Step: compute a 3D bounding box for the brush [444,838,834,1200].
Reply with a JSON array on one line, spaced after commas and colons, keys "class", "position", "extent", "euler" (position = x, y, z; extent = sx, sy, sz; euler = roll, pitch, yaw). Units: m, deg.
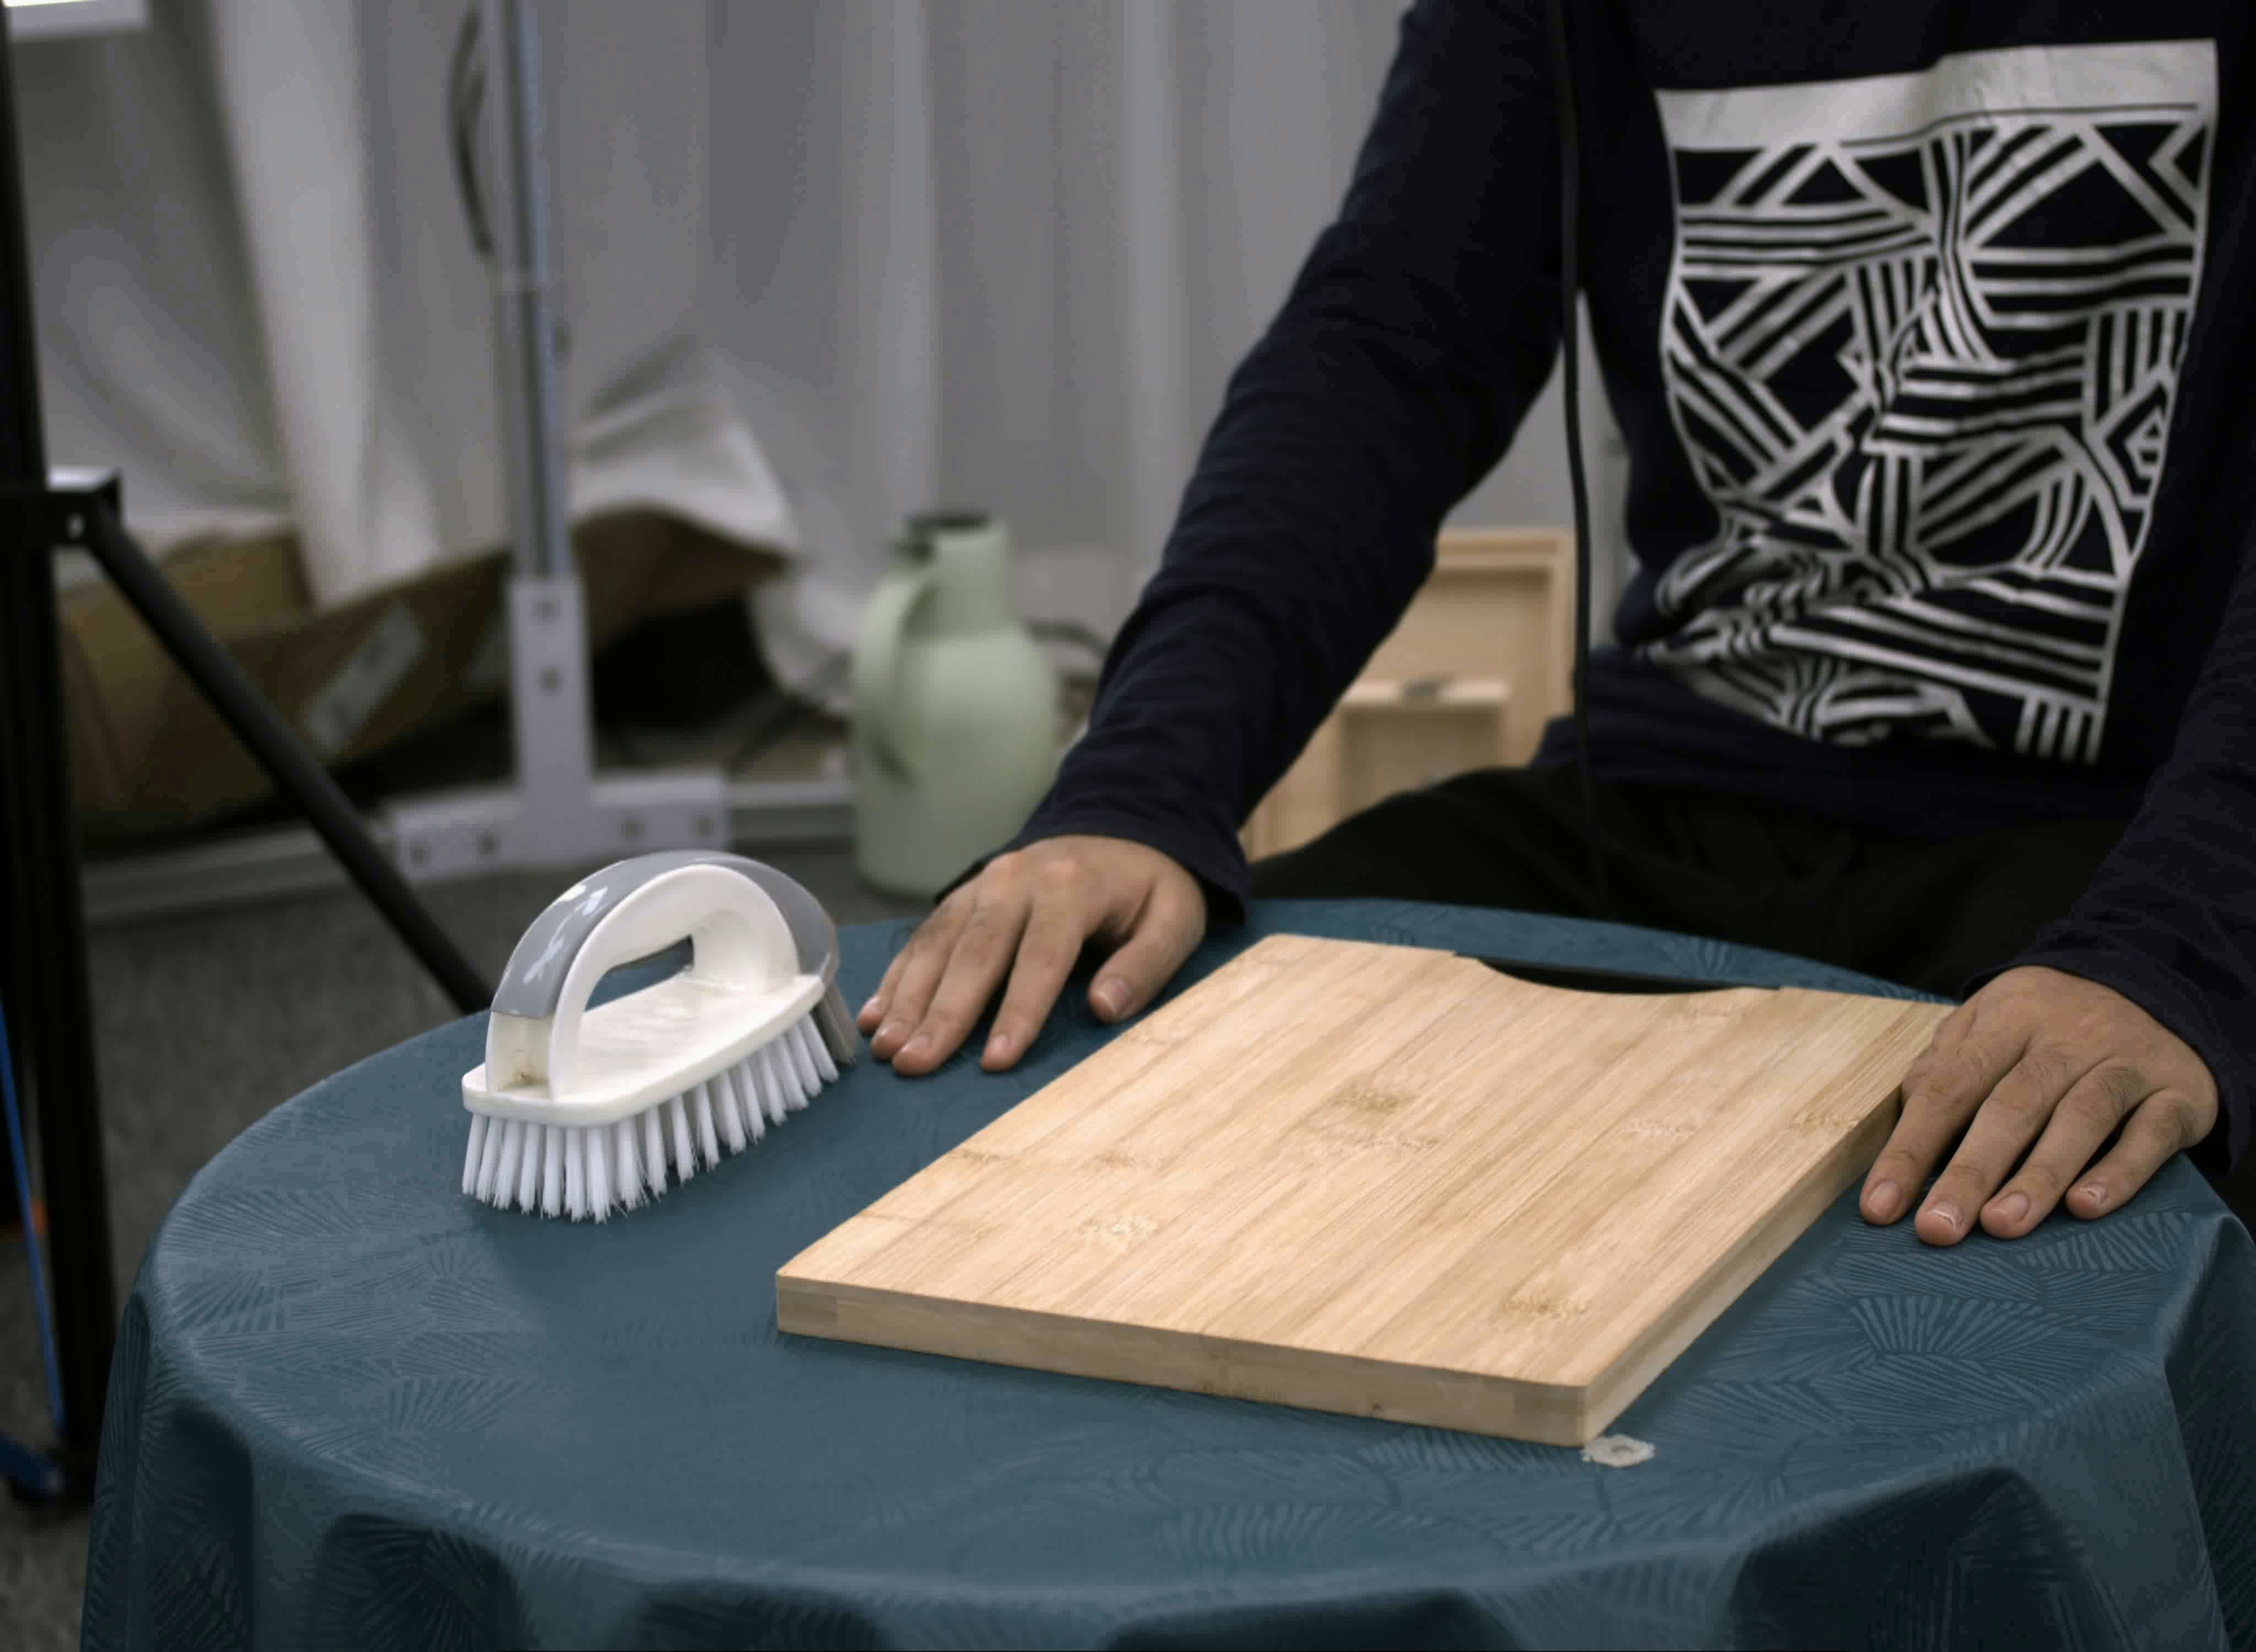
[{"class": "brush", "position": [-0.139, 0.048, 1.625], "extent": [0.062, 0.094, 0.172], "euler": [9, 17, 30]}]

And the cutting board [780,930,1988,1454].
[{"class": "cutting board", "position": [0.085, 0.098, 1.555], "extent": [0.254, 0.023, 0.343], "euler": [6, 17, 25]}]
